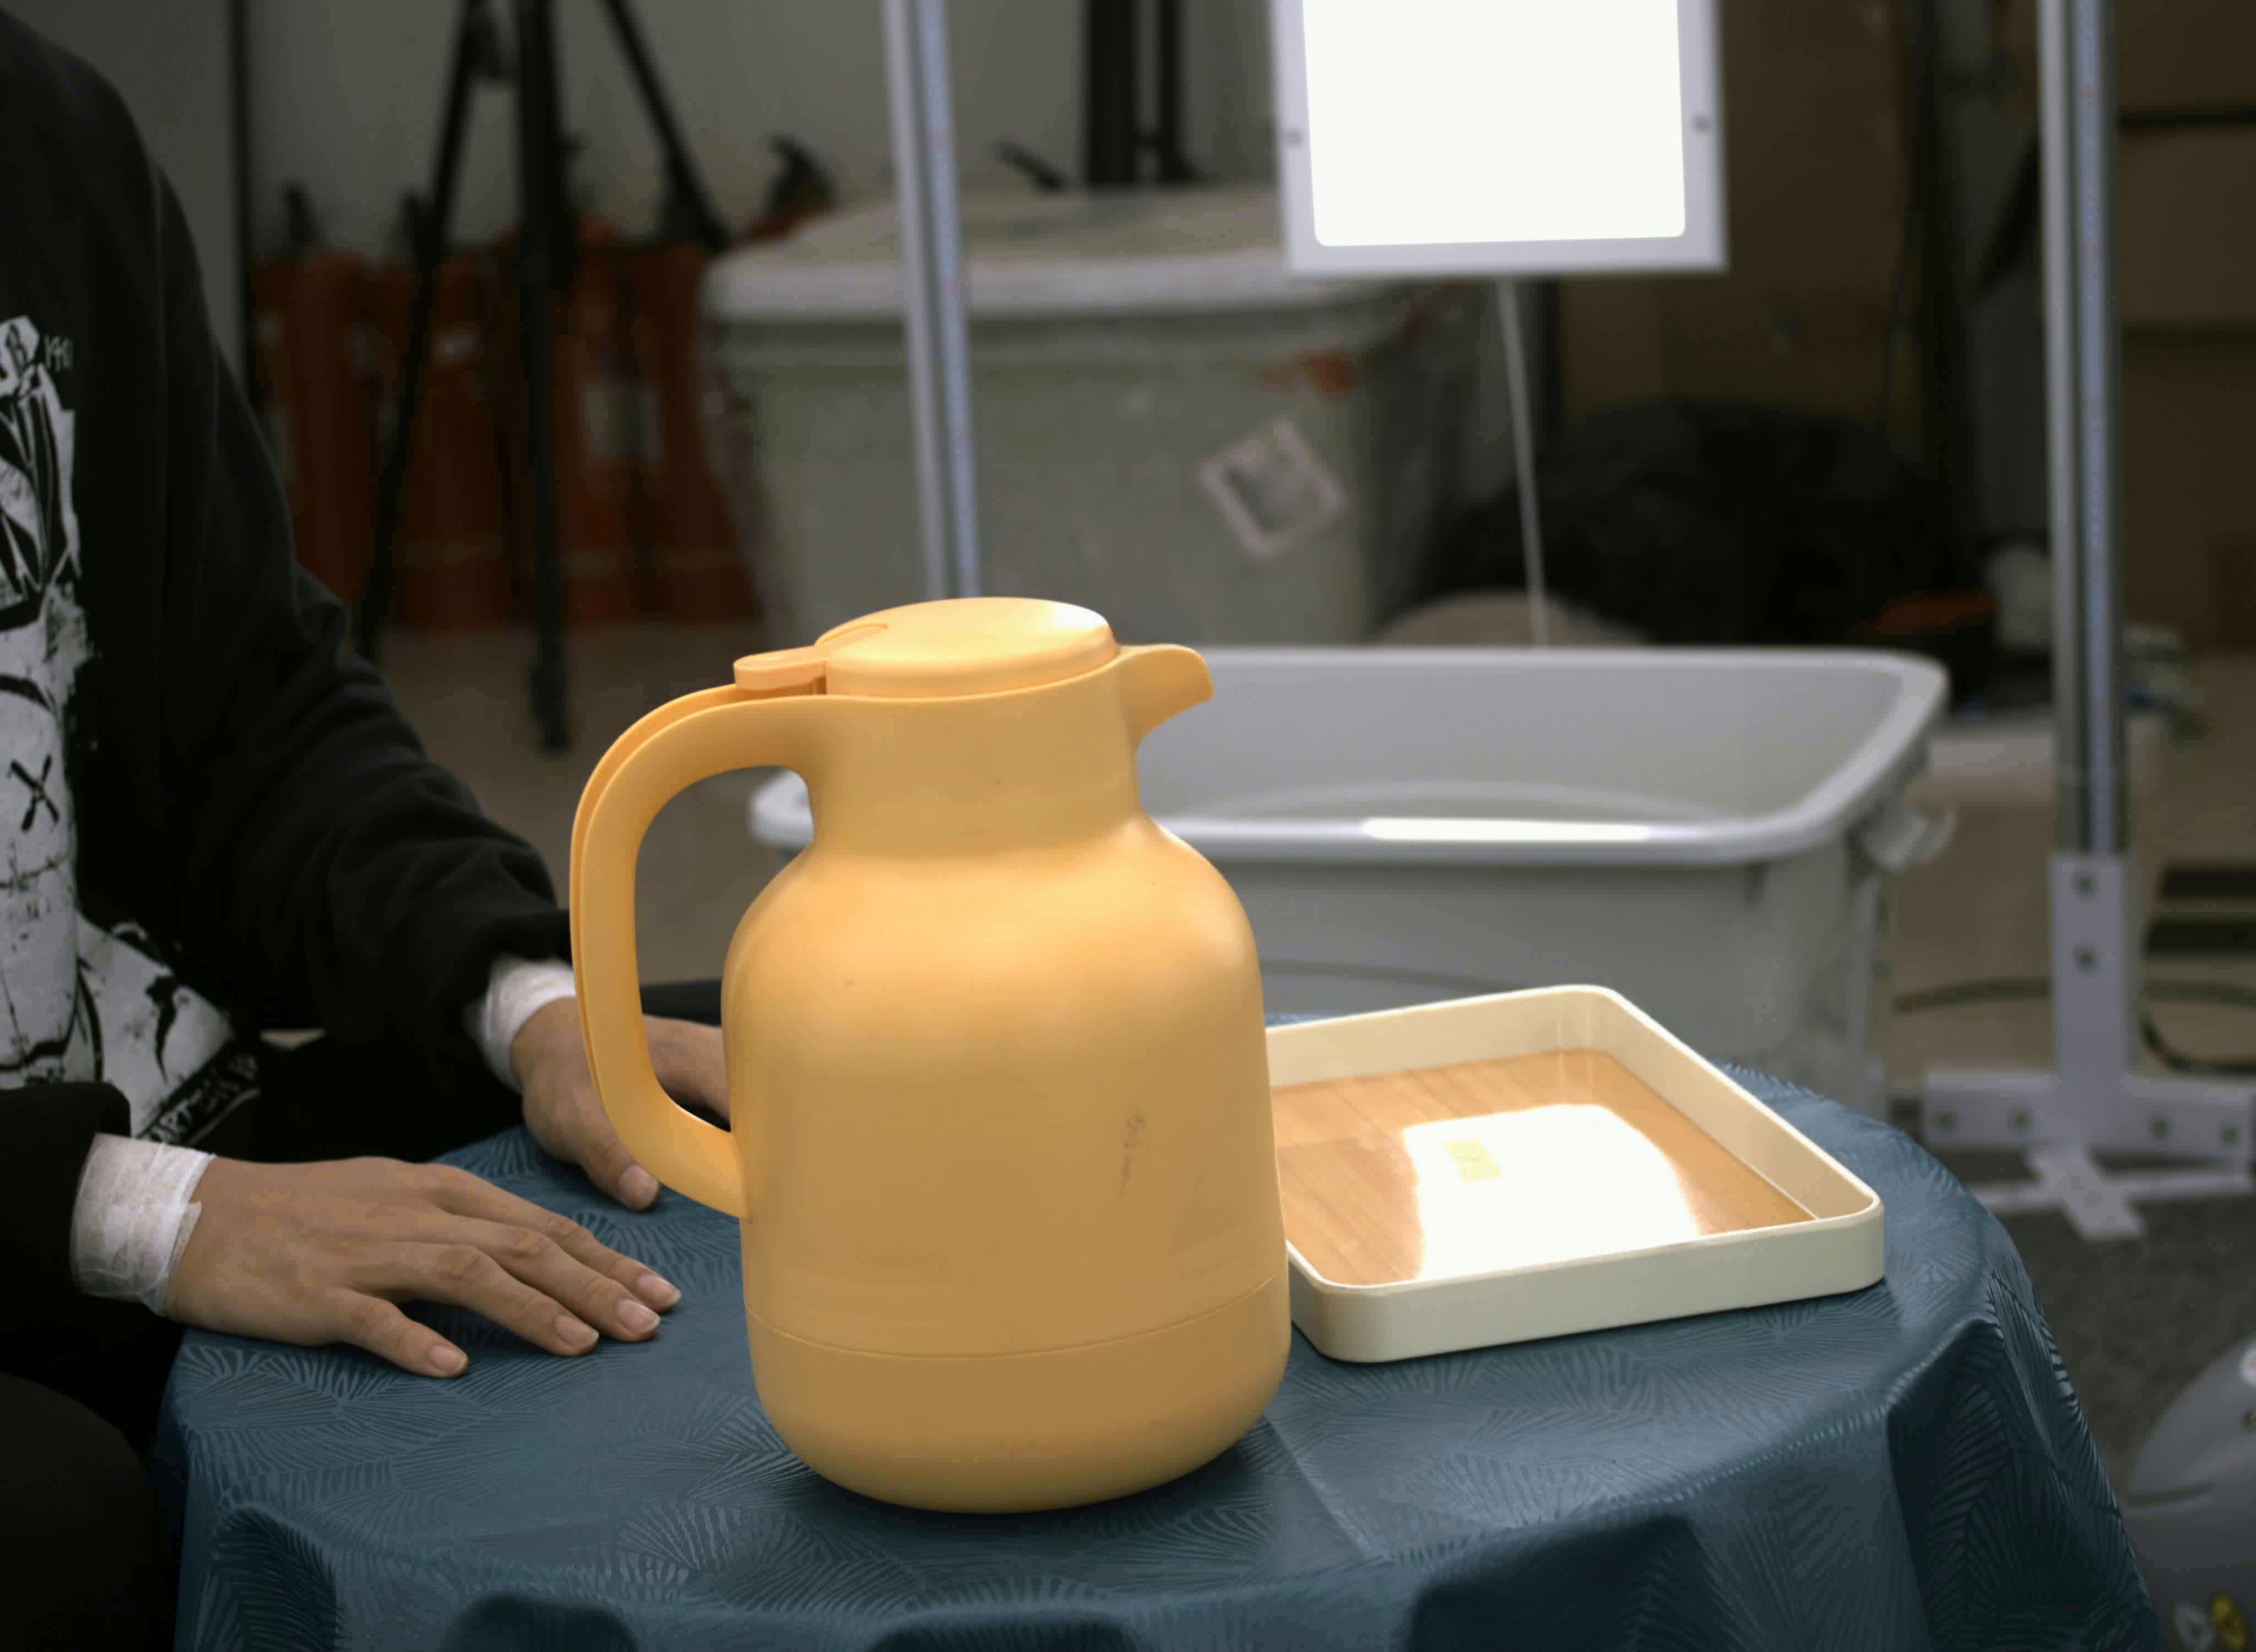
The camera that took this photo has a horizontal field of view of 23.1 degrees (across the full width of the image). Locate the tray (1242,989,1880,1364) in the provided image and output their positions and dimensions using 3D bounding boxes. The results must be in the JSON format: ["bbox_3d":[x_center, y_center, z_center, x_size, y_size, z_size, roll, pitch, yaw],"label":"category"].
[{"bbox_3d":[0.118,0.113,1.854,0.189,0.027,0.302,-8,14,-11],"label":"tray"}]

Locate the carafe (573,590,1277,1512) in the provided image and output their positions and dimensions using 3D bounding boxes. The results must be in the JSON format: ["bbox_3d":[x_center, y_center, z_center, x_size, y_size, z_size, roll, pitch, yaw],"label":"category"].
[{"bbox_3d":[-0.060,0.064,1.626,0.200,0.261,0.164,-5,11,-8],"label":"carafe"}]
